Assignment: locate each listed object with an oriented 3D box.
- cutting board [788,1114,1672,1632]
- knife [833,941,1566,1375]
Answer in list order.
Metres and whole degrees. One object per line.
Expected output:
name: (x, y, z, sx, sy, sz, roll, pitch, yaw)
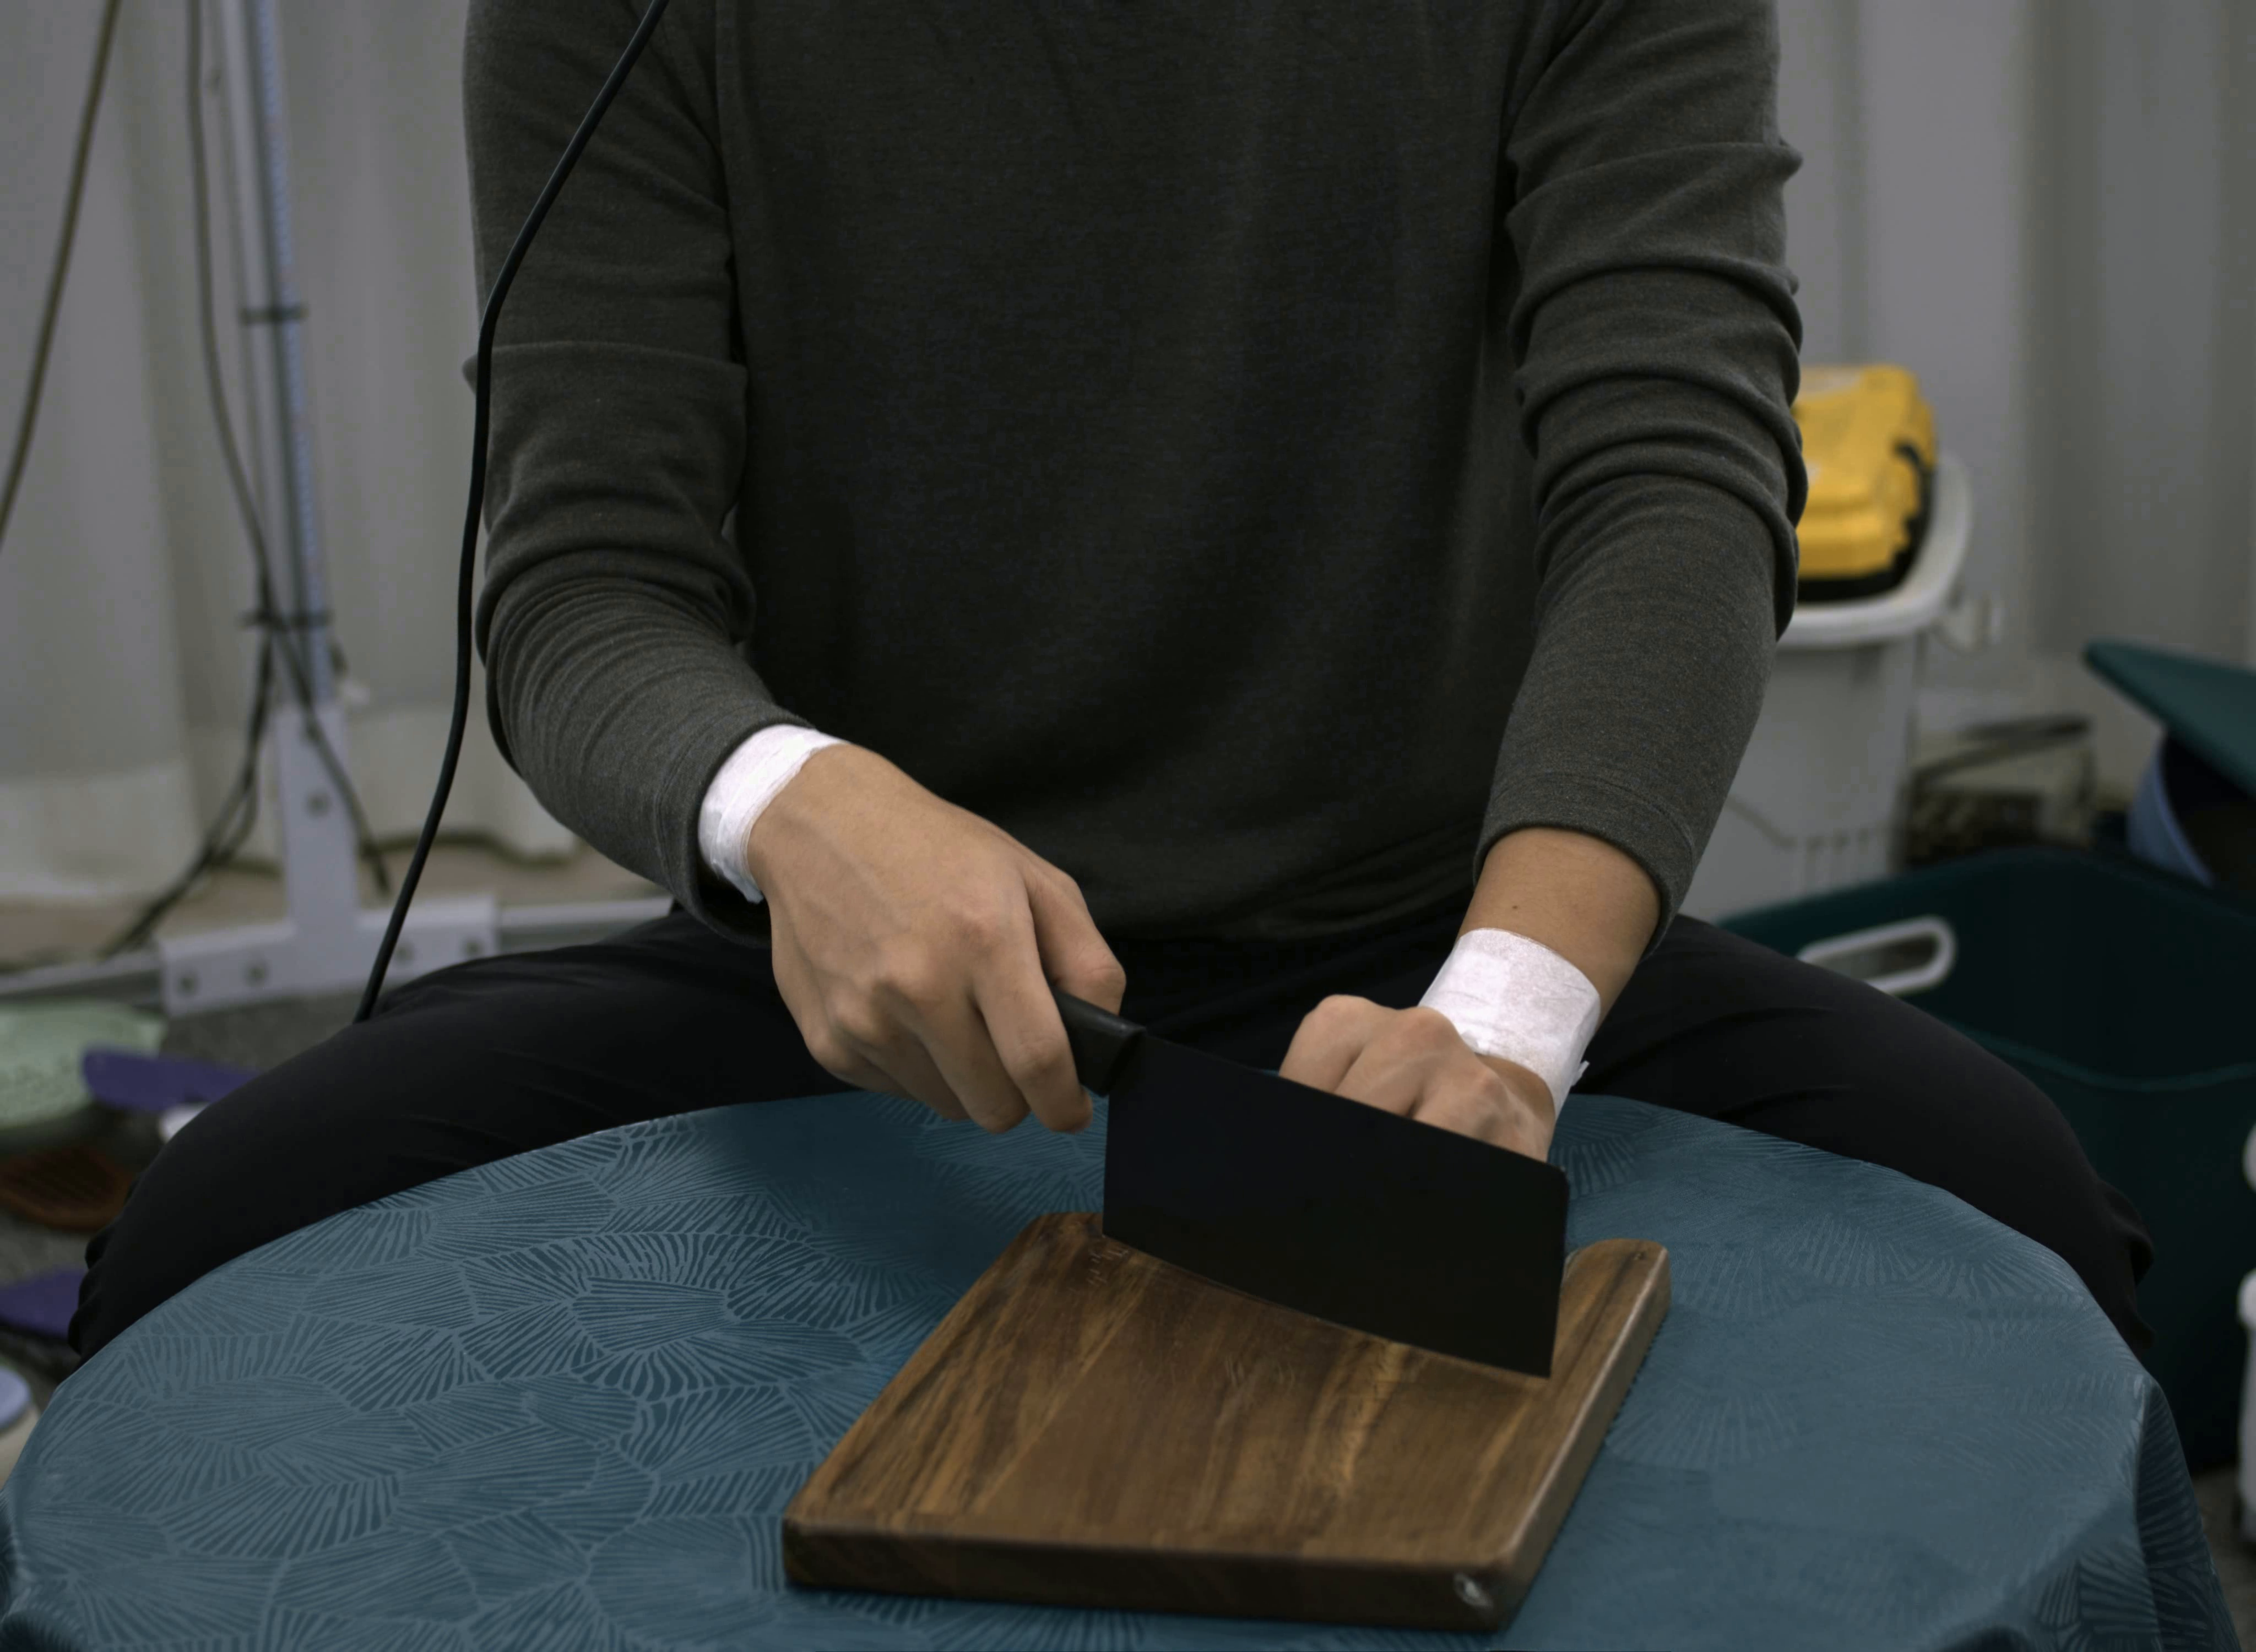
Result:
cutting board: (0.047, 0.145, 1.550, 0.201, 0.023, 0.353, 2, 15, 15)
knife: (0.015, 0.090, 1.587, 0.021, 0.080, 0.305, -5, 19, -43)
